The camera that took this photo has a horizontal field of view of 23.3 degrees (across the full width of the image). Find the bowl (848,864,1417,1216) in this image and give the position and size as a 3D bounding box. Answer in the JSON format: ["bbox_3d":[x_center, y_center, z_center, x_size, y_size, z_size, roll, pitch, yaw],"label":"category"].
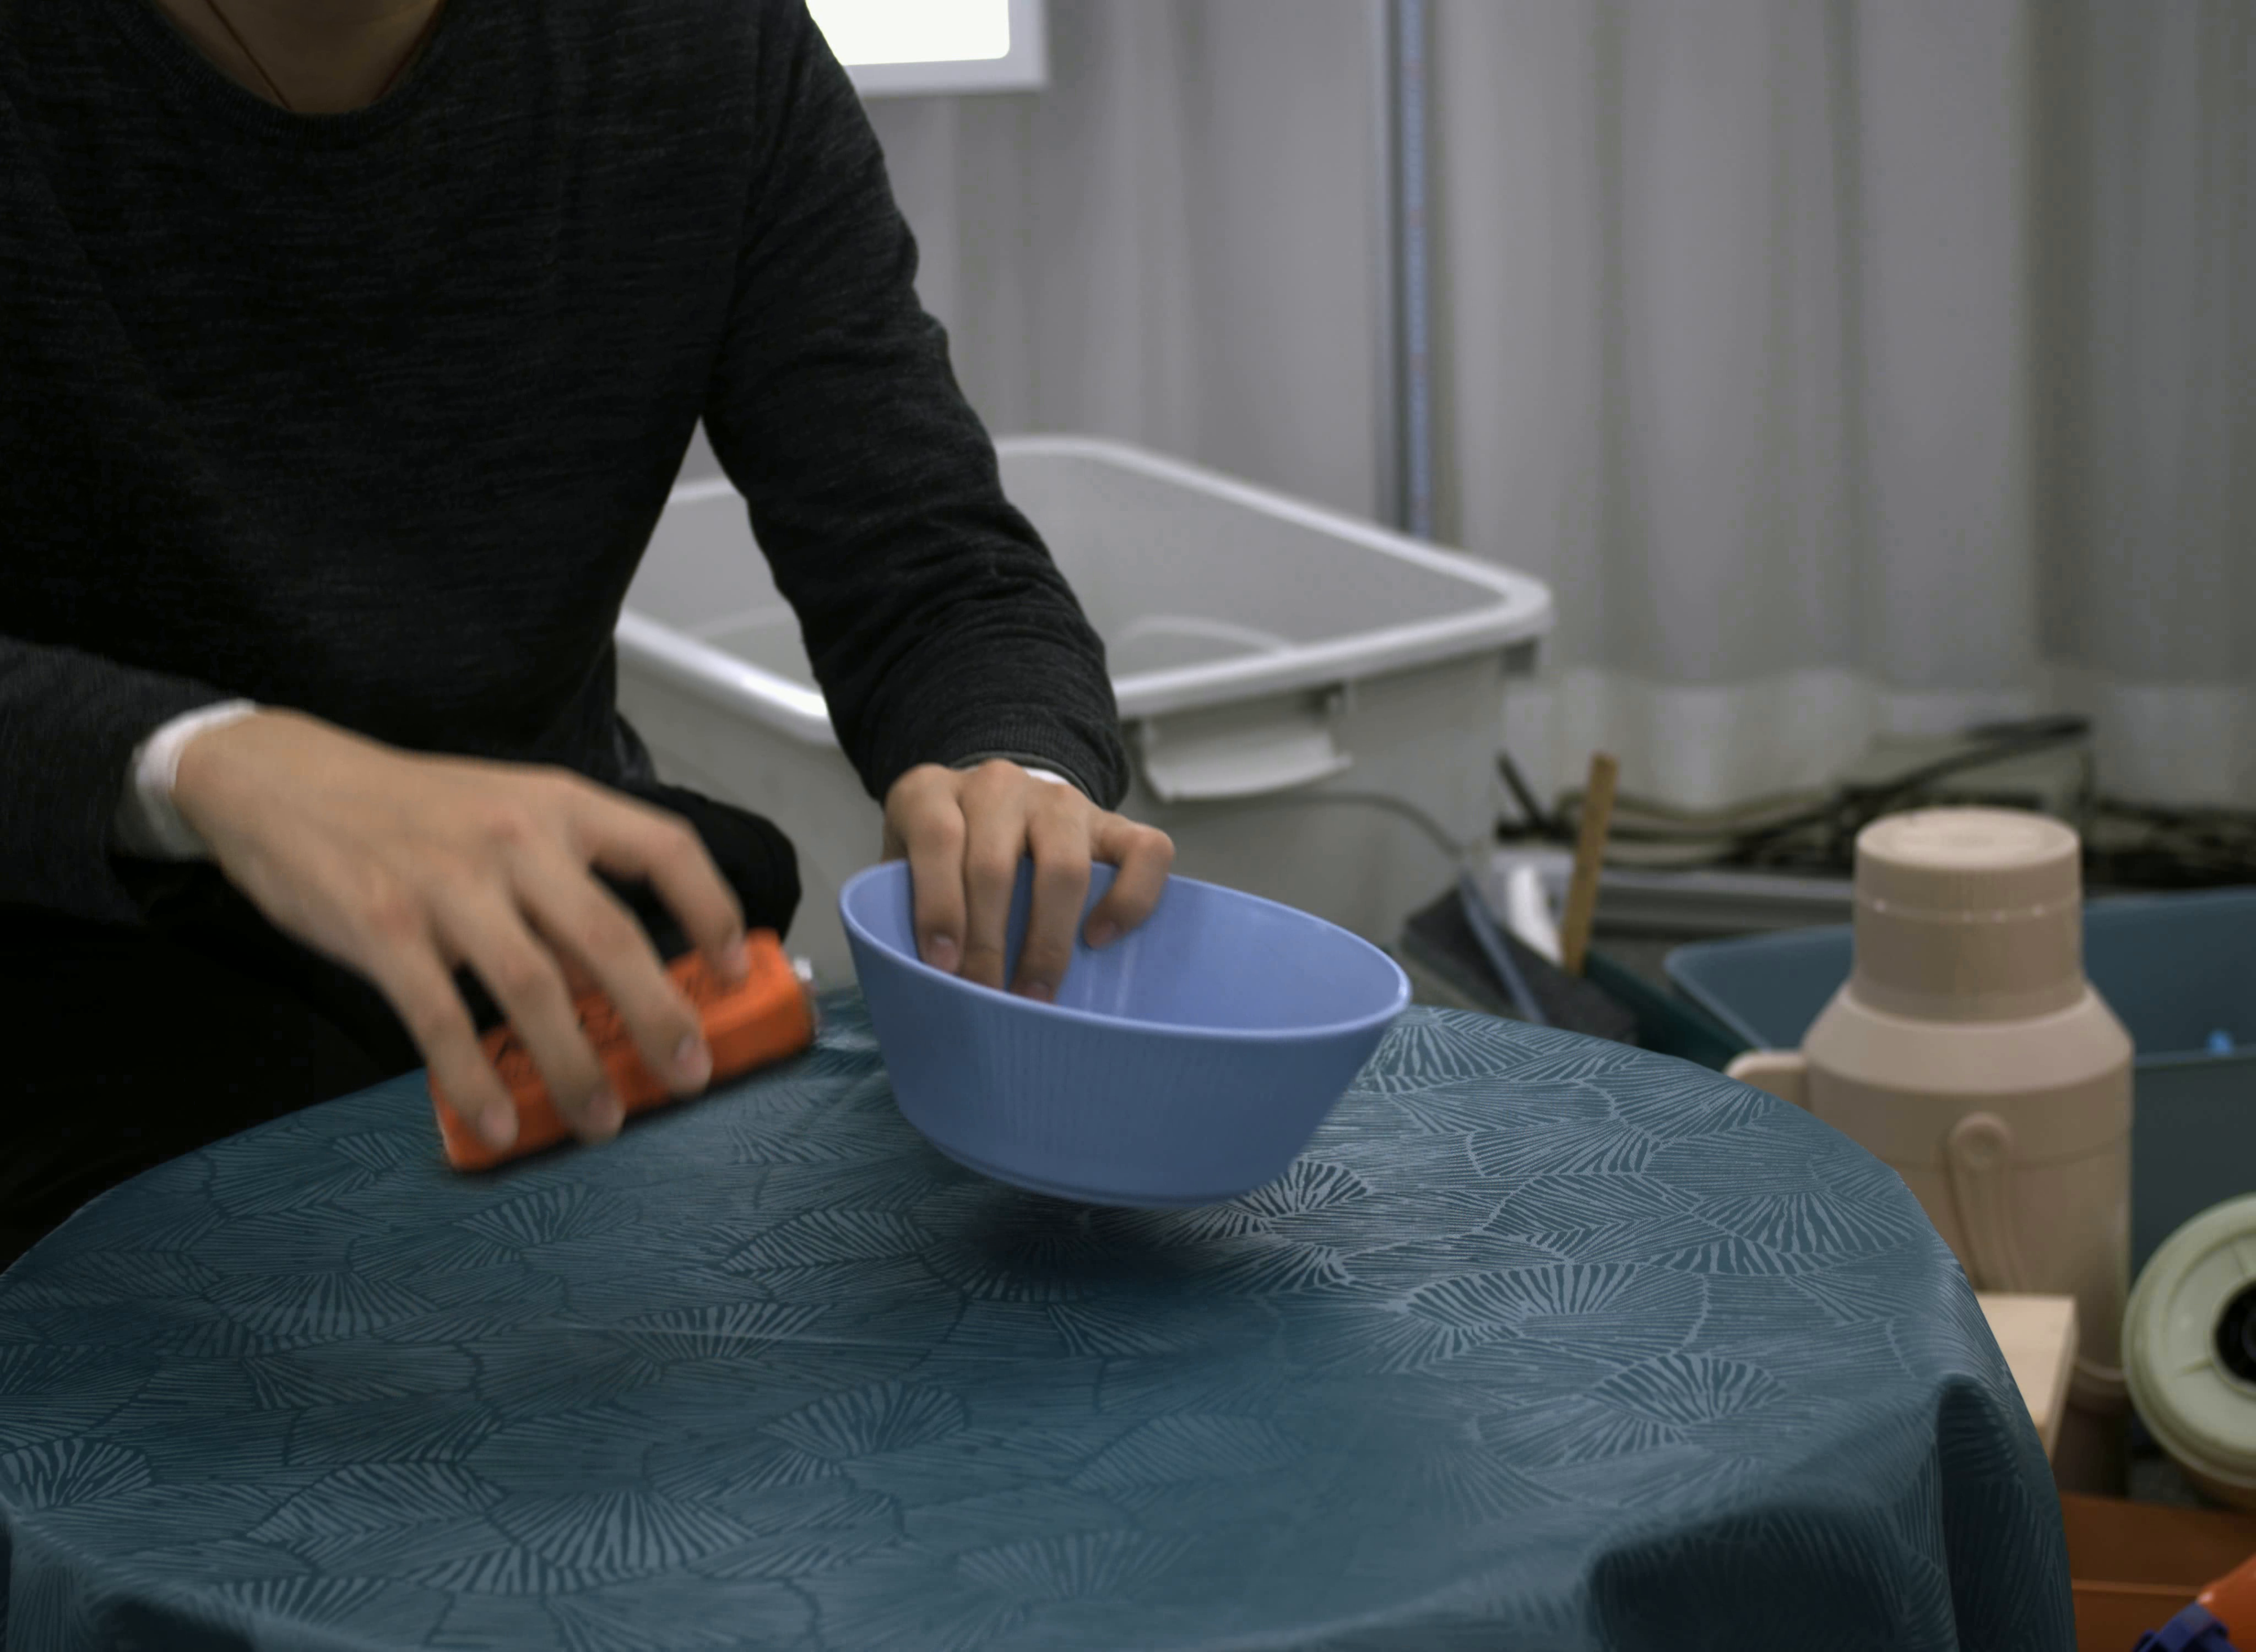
[{"bbox_3d":[-0.004,0.068,1.661,0.175,0.070,0.177,9,14,-2],"label":"bowl"}]

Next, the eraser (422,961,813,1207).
[{"bbox_3d":[-0.146,0.073,1.560,0.108,0.022,0.059,-20,22,-5],"label":"eraser"}]
